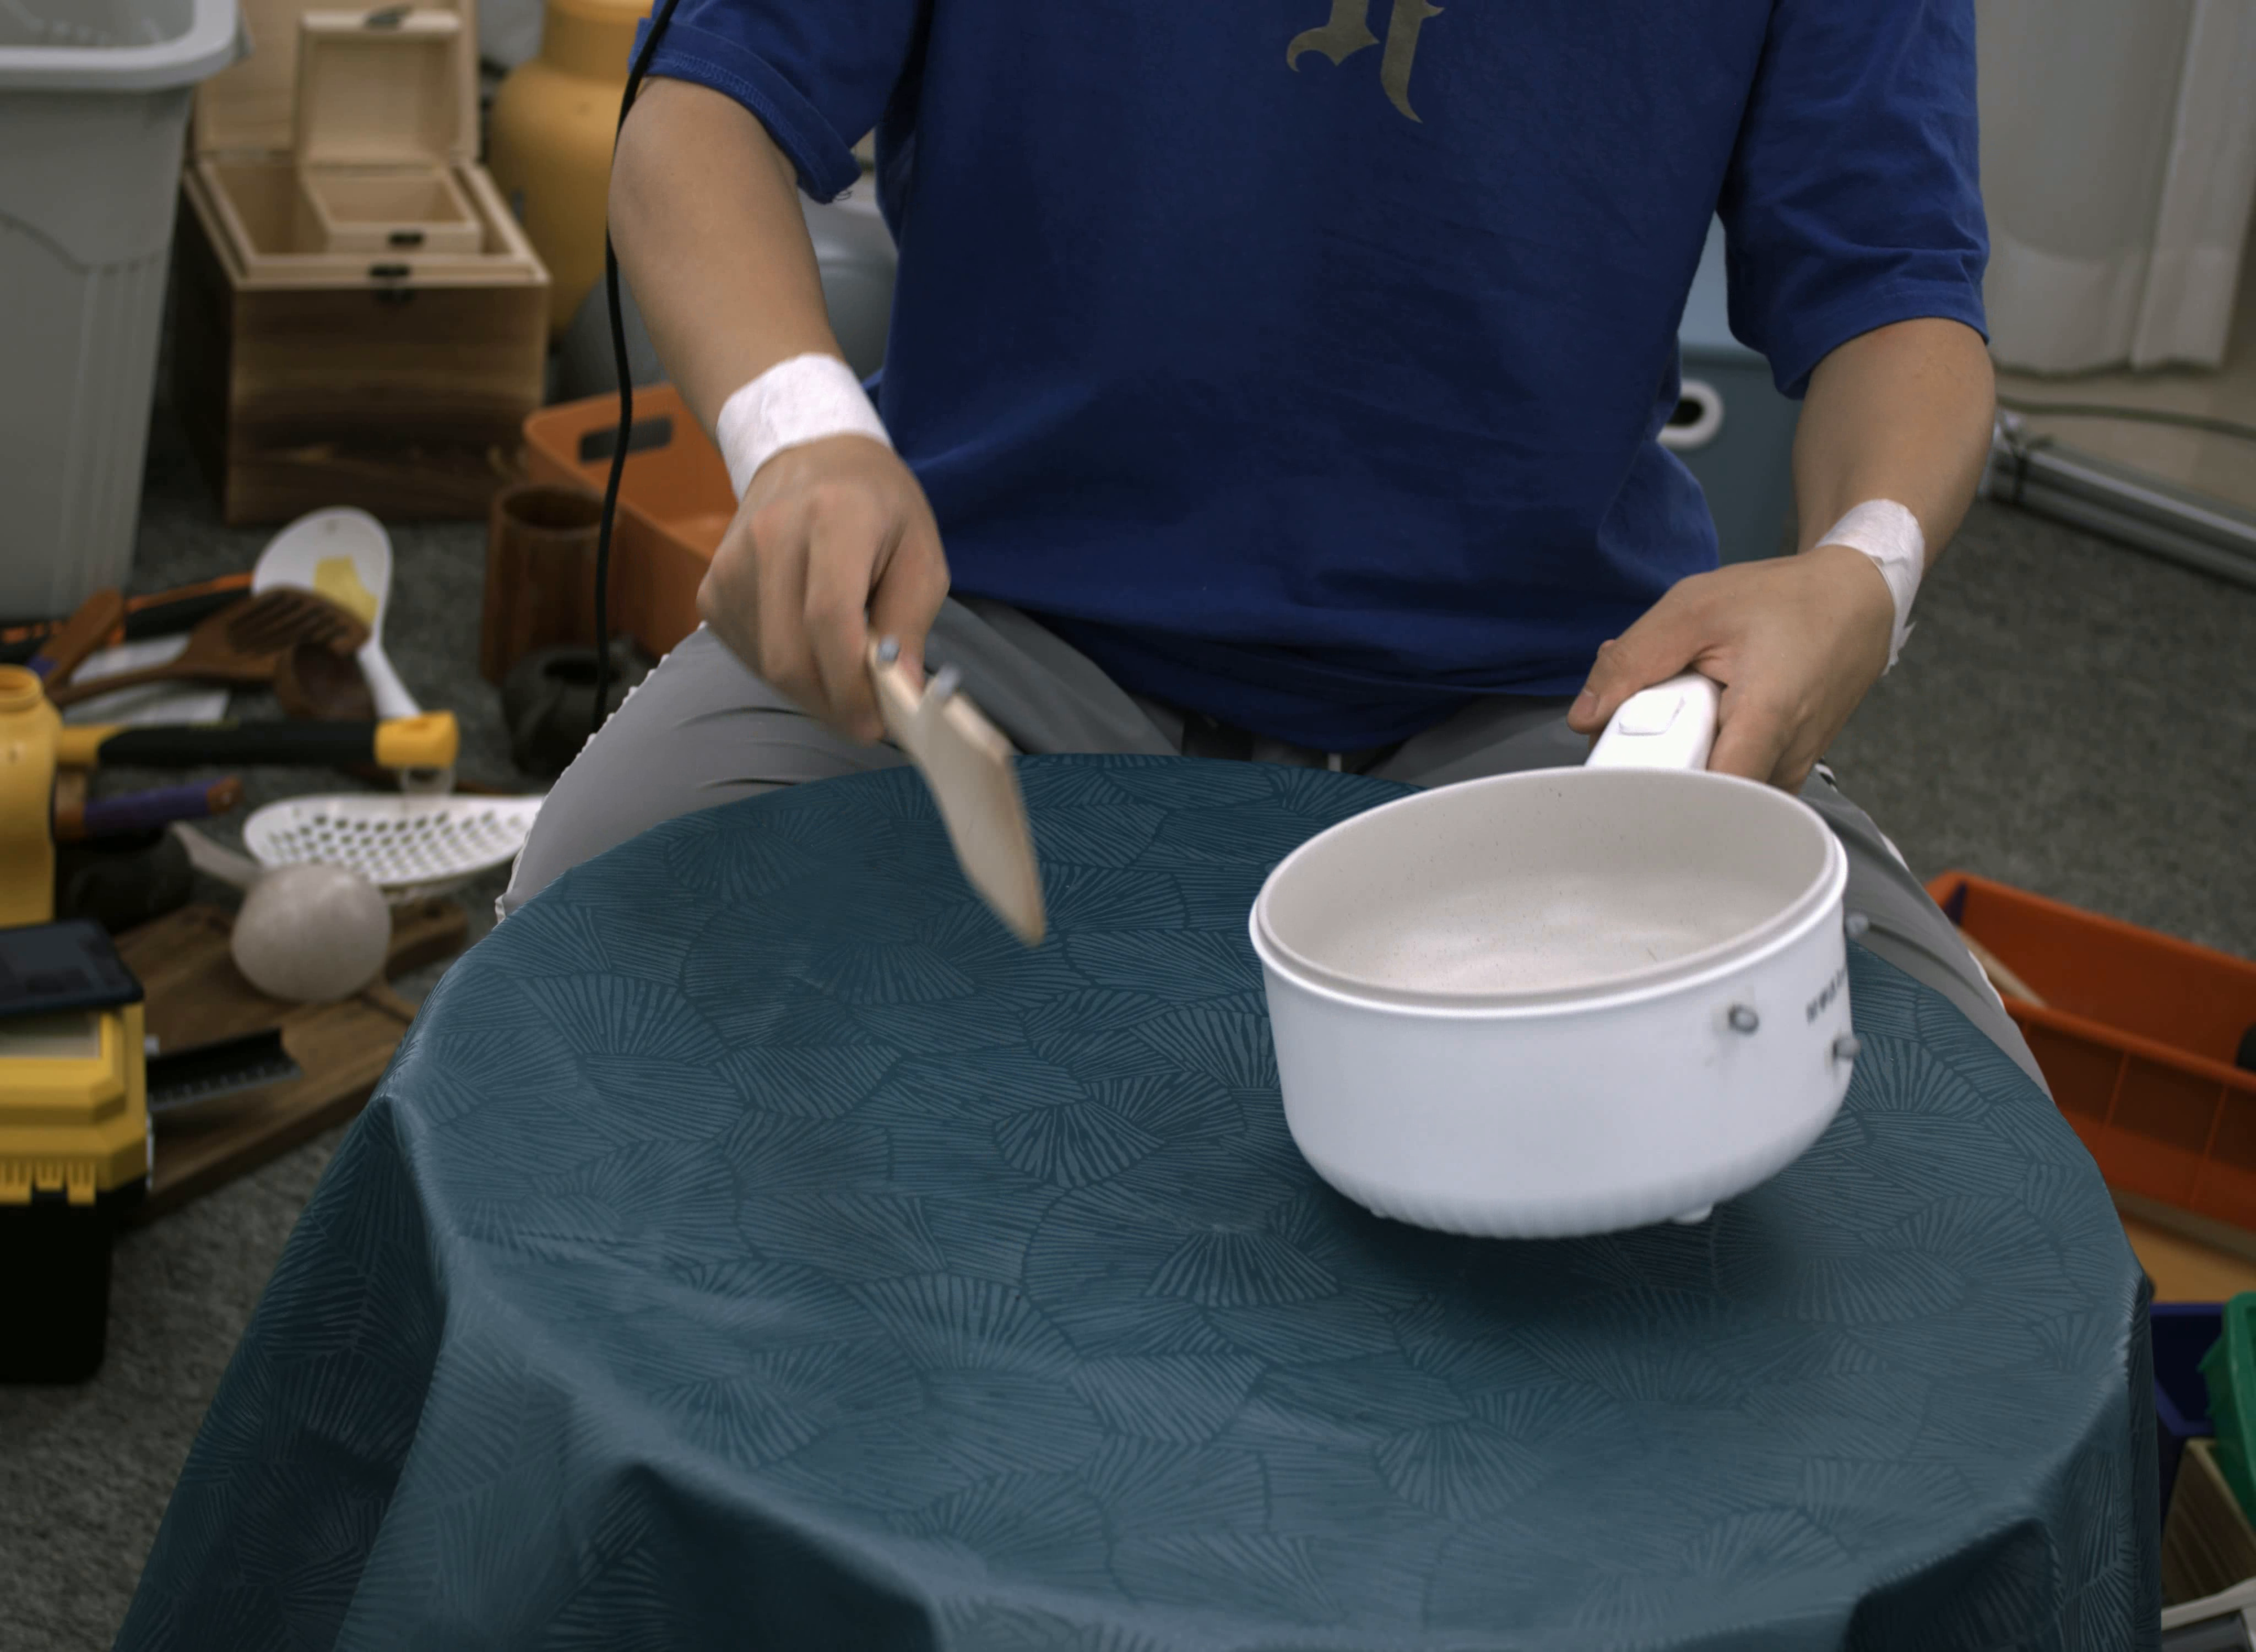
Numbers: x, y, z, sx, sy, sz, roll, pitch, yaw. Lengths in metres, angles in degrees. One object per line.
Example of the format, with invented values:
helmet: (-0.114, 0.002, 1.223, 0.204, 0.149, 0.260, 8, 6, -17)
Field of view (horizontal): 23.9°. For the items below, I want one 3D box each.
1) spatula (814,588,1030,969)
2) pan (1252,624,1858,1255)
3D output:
spatula: (-0.077, -0.031, 1.824, 0.010, 0.072, 0.295, -18, 22, -8)
pan: (0.170, 0.037, 1.864, 0.201, 0.102, 0.355, -2, 22, 20)
